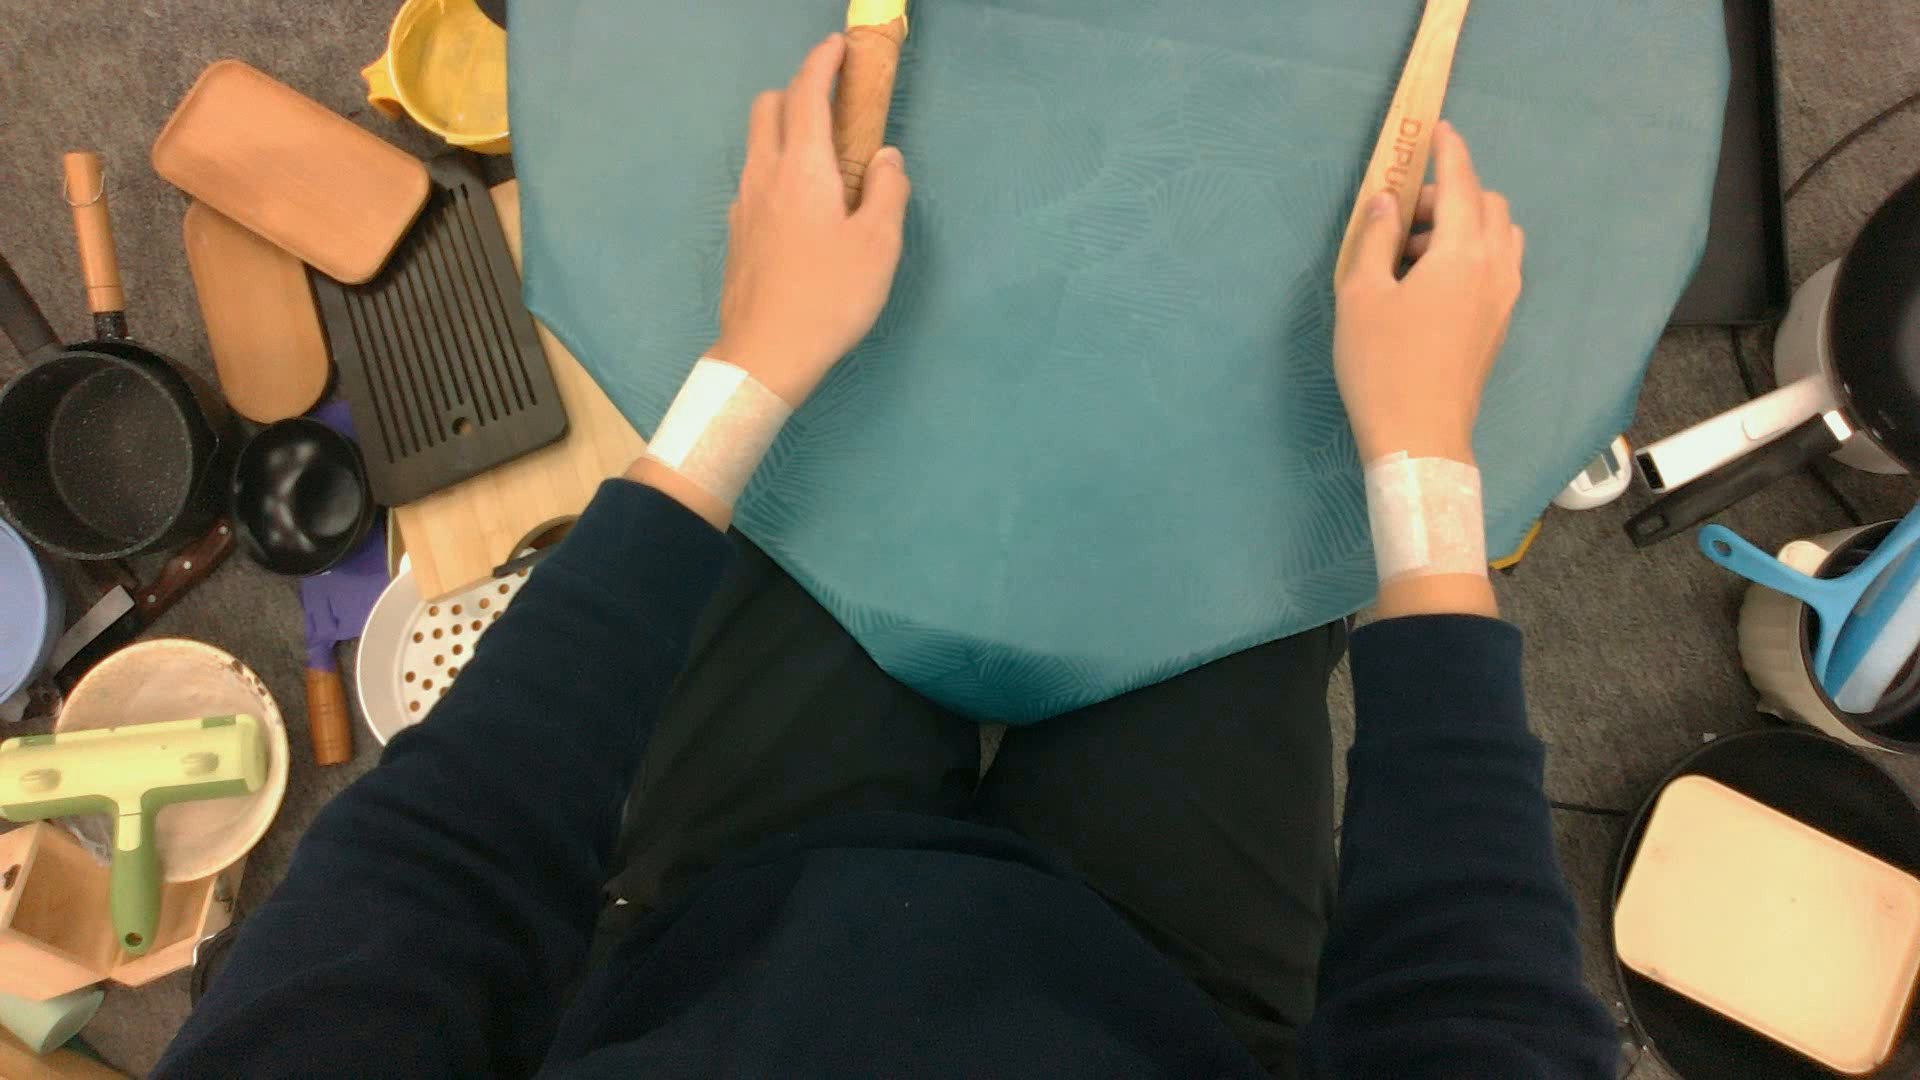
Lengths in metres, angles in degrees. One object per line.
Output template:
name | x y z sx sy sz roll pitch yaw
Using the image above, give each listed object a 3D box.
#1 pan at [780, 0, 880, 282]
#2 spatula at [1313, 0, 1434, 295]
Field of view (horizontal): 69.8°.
pan | -0.049 -0.279 0.656 0.169 0.049 0.324 9 86 1
spatula | 0.223 -0.274 0.668 0.080 0.016 0.328 16 83 3
